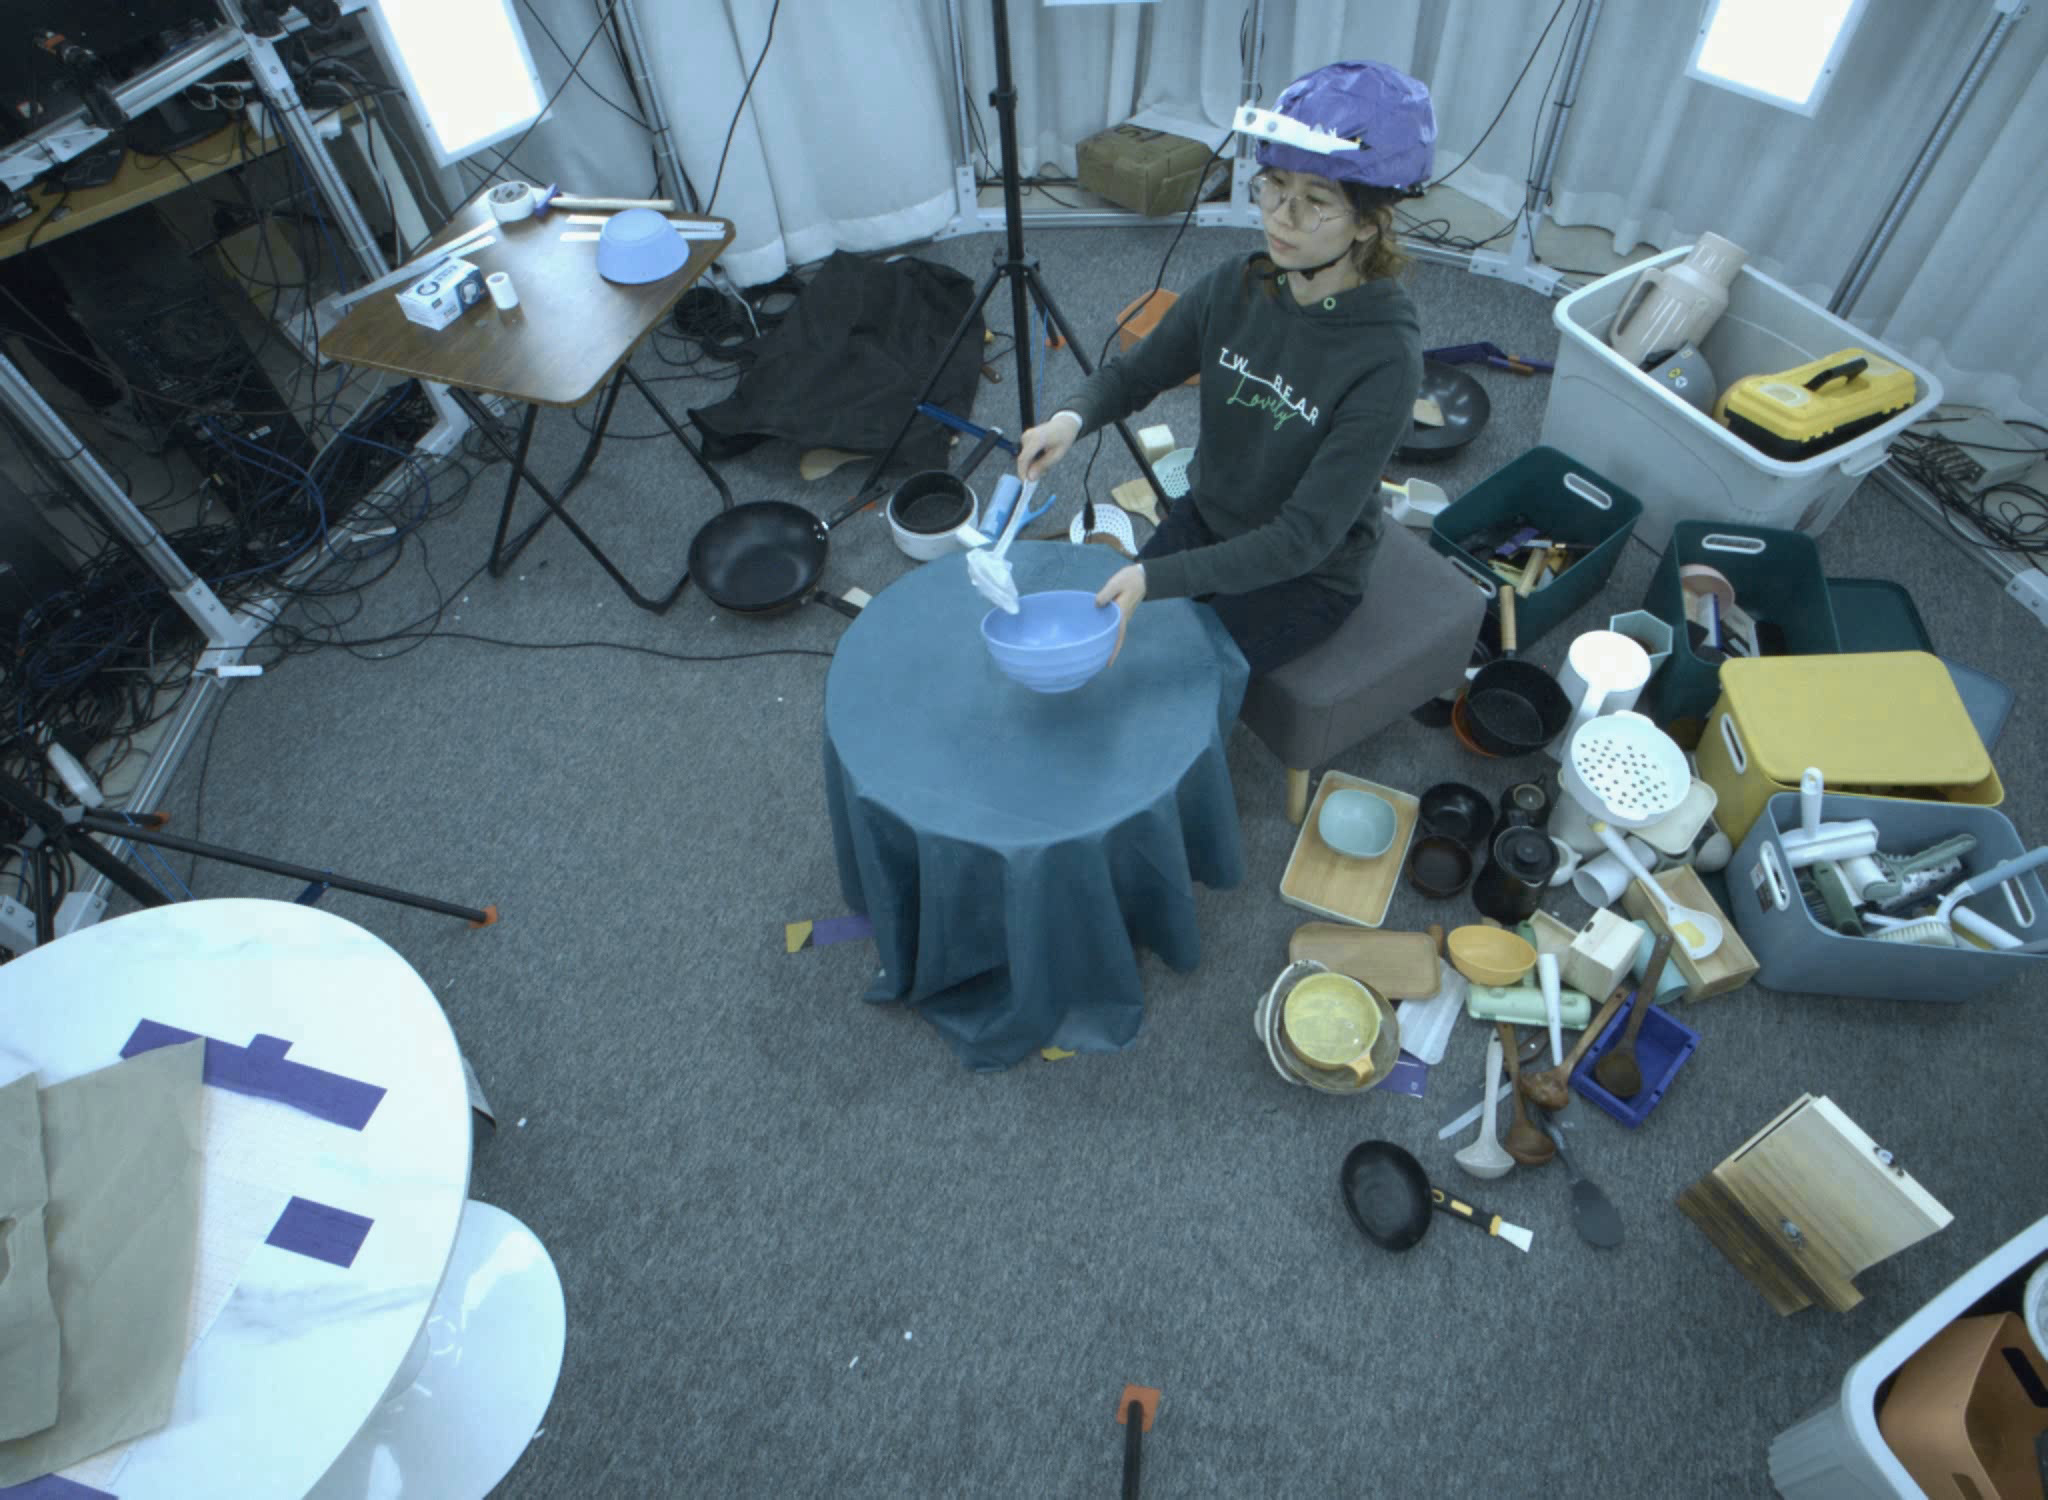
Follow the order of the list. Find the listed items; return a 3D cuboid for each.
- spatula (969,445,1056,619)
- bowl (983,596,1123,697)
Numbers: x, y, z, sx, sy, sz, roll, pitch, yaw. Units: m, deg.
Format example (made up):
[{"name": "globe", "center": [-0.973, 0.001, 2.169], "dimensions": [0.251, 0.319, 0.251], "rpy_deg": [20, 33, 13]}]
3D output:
[{"name": "spatula", "center": [-0.002, -0.338, 1.777], "dimensions": [0.100, 0.044, 0.364], "rpy_deg": [38, 55, -27]}, {"name": "bowl", "center": [0.045, -0.137, 1.738], "dimensions": [0.196, 0.096, 0.195], "rpy_deg": [-5, 30, 4]}]
